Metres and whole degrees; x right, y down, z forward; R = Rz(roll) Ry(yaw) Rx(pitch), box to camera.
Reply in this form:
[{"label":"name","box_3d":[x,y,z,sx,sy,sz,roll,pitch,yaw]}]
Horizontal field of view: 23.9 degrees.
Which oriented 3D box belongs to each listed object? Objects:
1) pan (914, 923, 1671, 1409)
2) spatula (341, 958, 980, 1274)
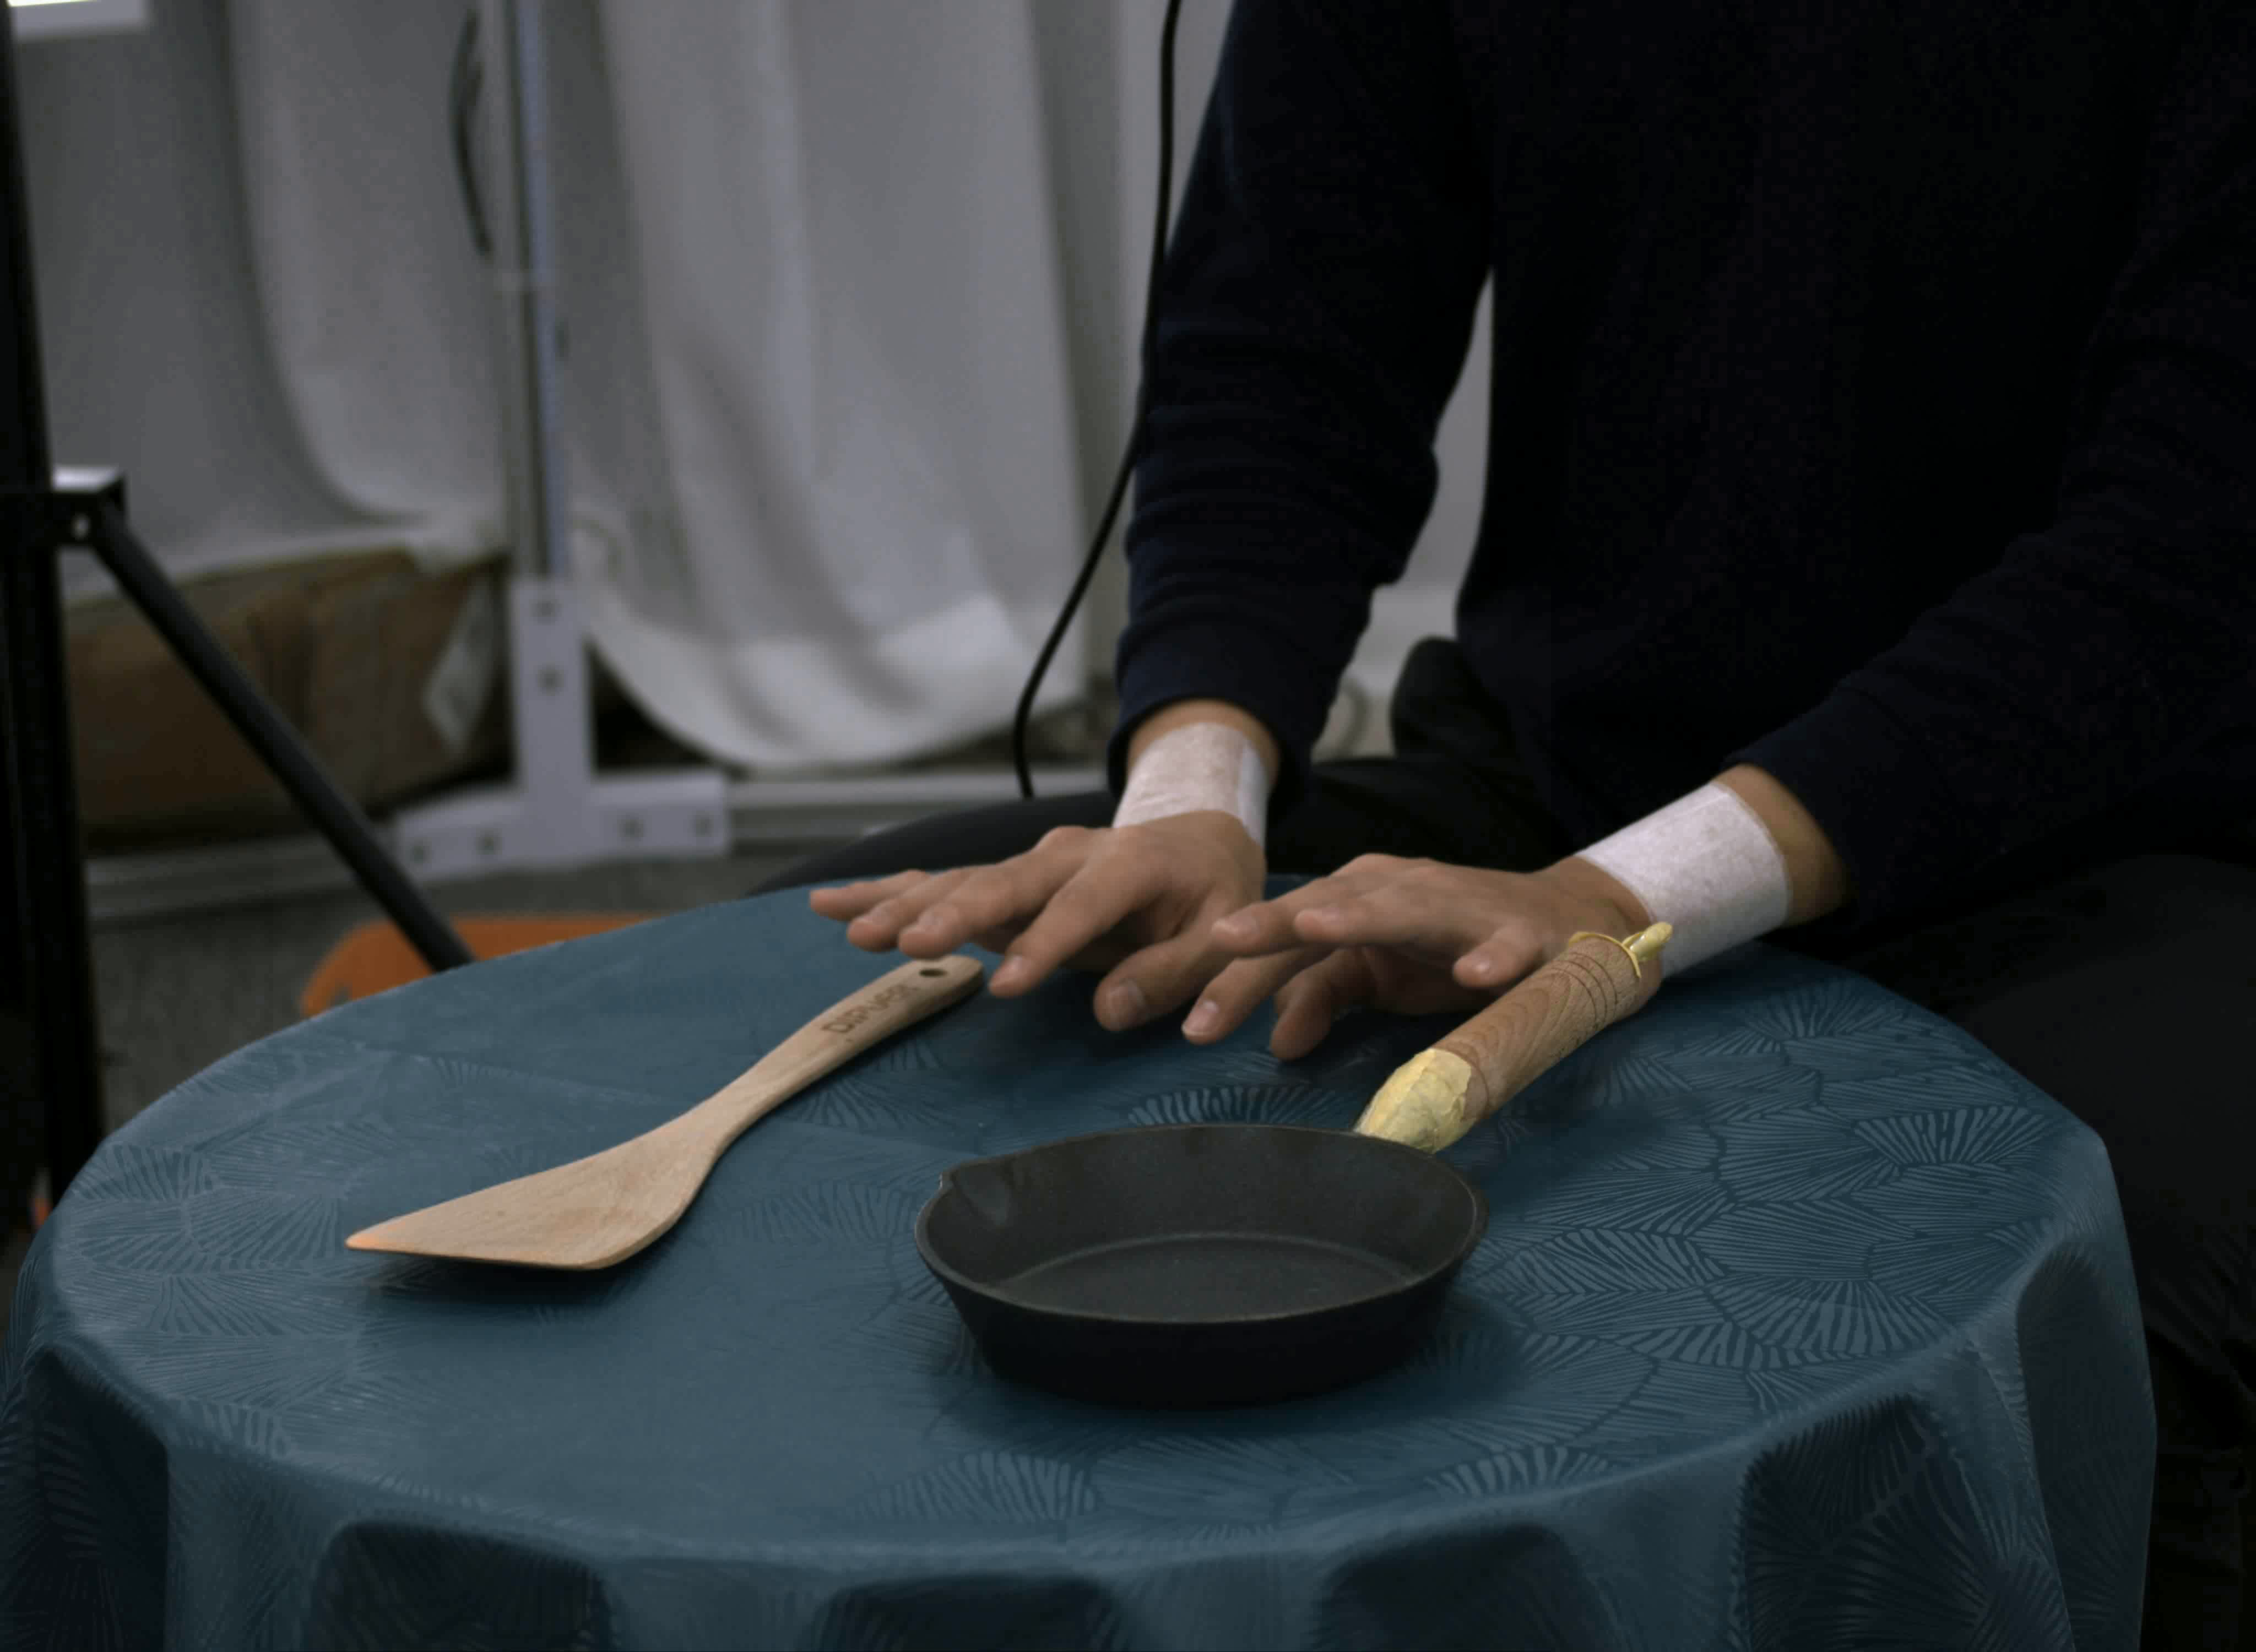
[{"label":"pan","box_3d":[0.070,0.093,1.507,0.172,0.049,0.317,9,21,36]},{"label":"spatula","box_3d":[-0.123,0.085,1.629,0.081,0.016,0.322,6,18,24]}]
